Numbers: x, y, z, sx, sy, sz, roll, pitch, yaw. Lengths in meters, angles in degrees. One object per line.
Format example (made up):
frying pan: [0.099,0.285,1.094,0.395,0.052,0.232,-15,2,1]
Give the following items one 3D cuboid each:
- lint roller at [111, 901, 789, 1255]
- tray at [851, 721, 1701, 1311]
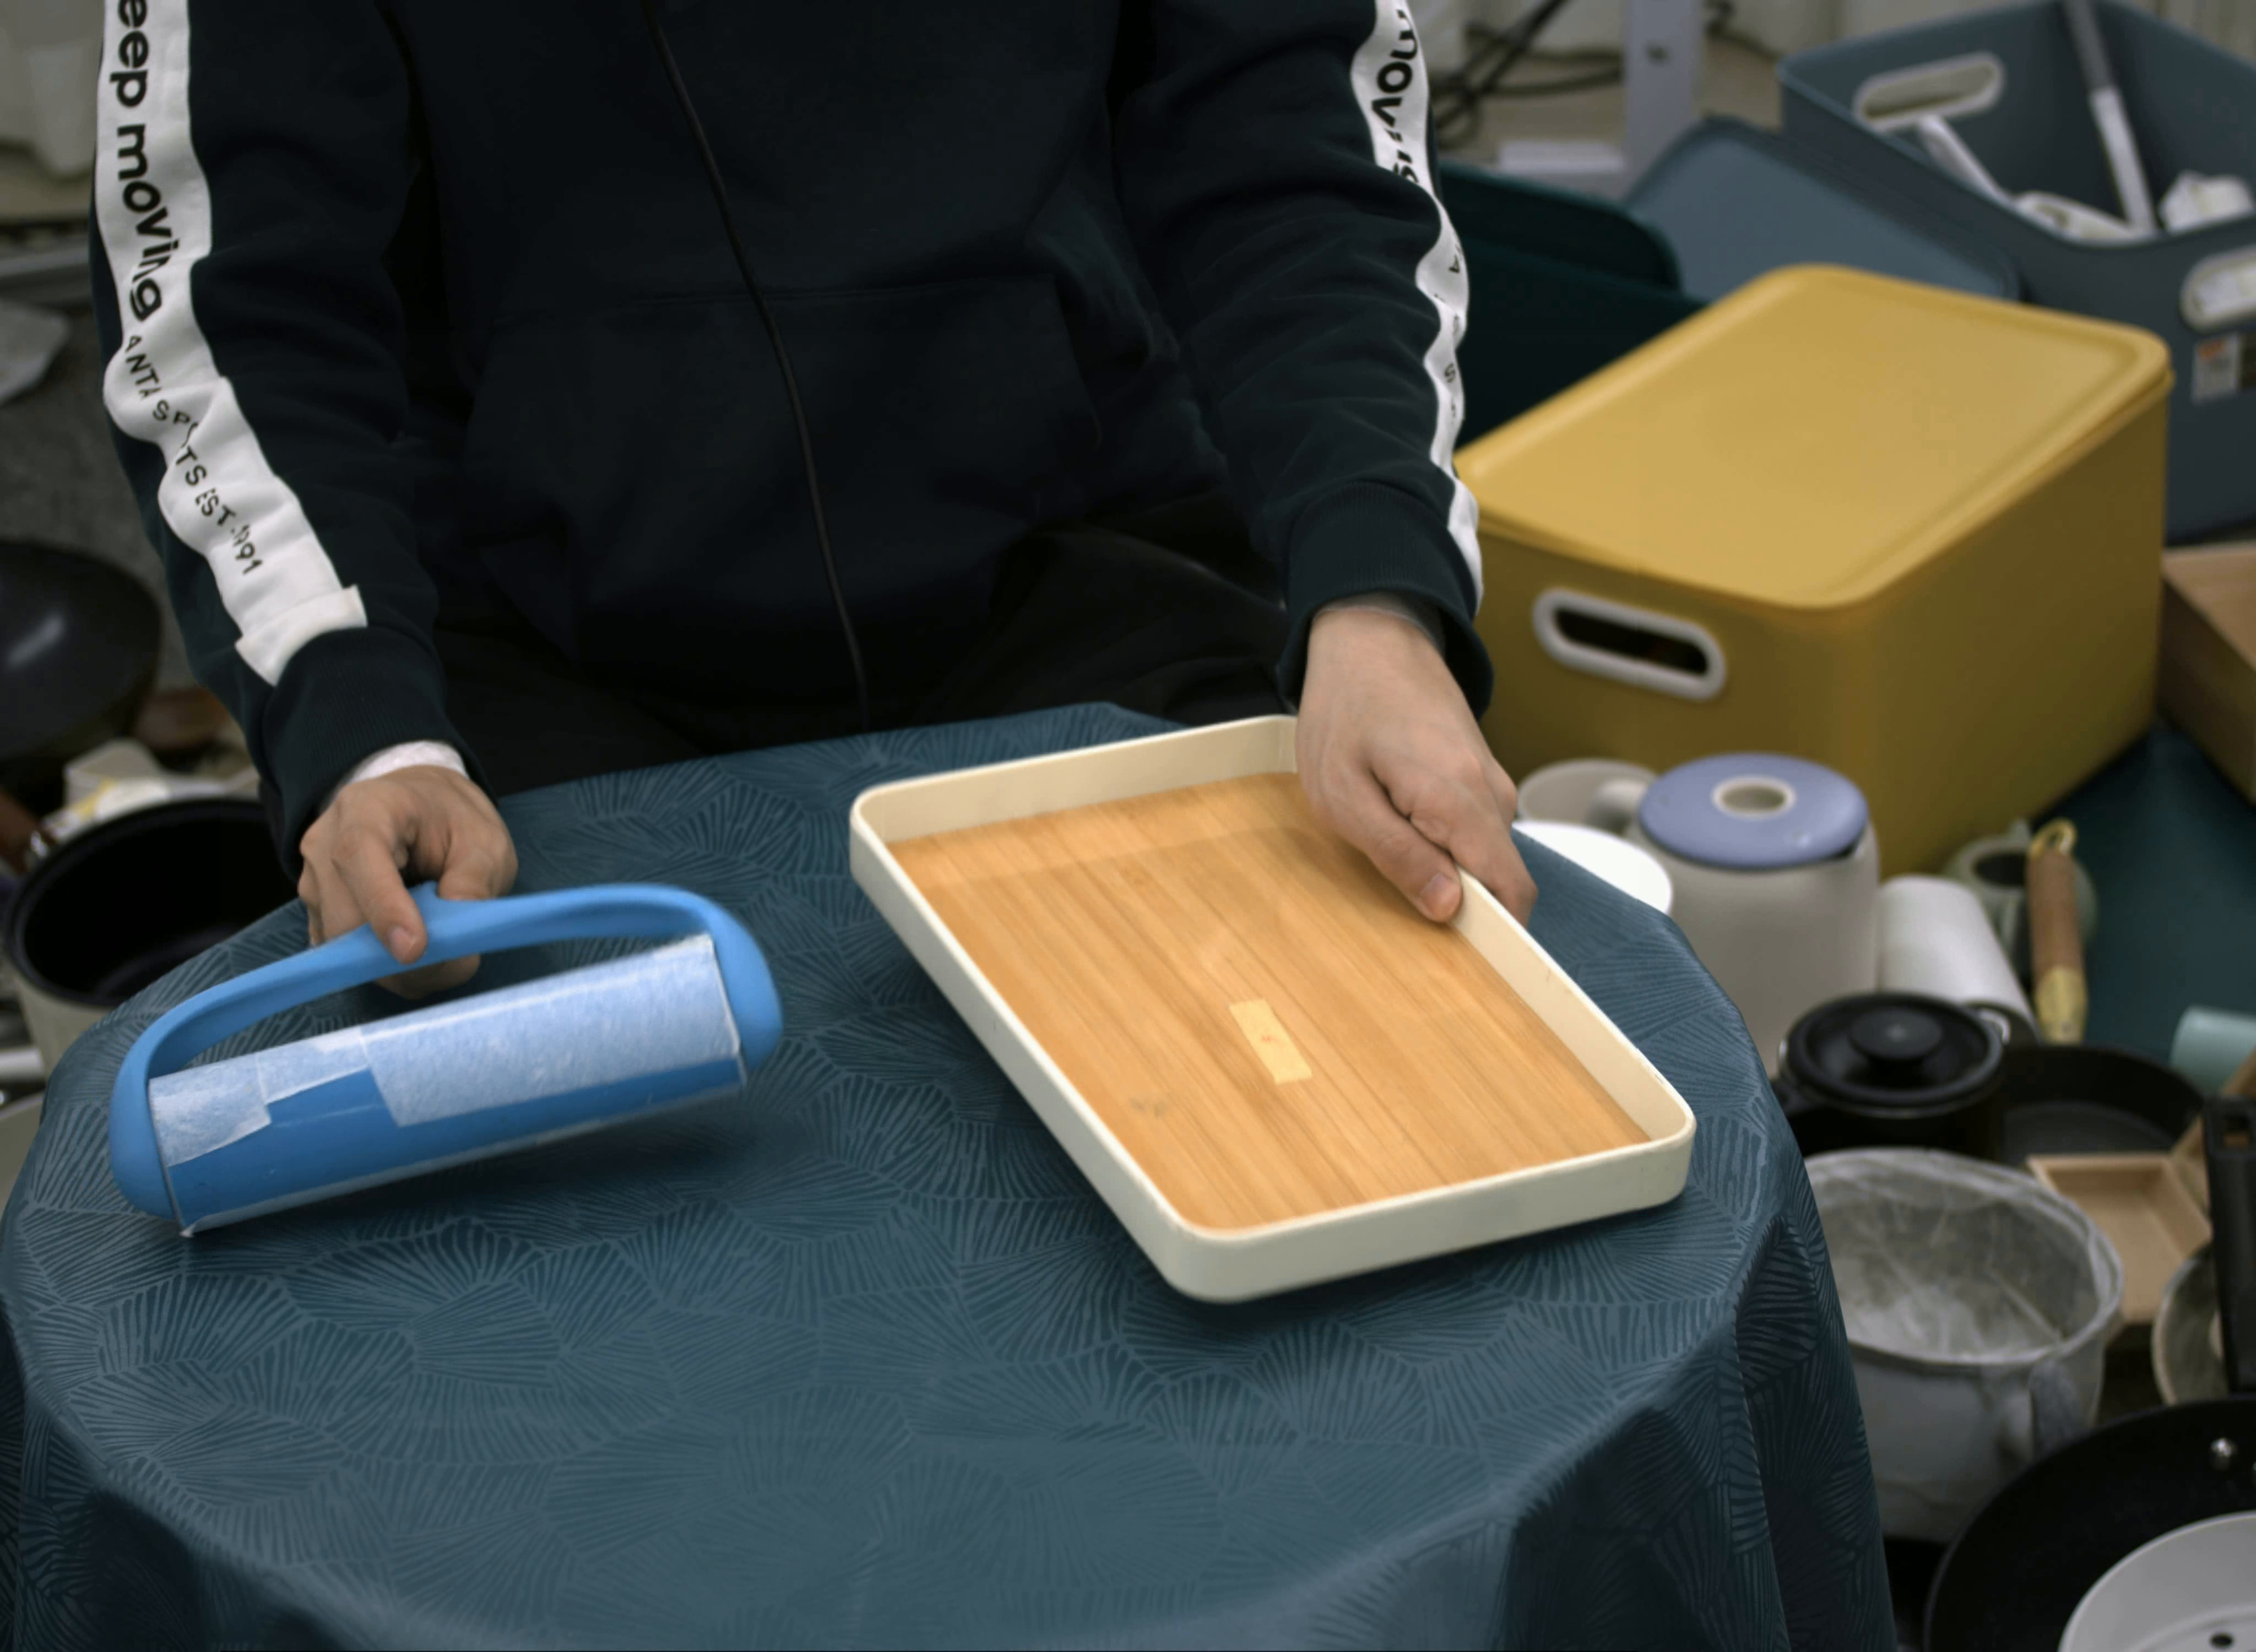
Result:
lint roller: [-0.240,0.063,1.916,0.229,0.067,0.182,-17,31,-9]
tray: [0.044,0.058,1.907,0.192,0.027,0.303,-11,33,-22]
